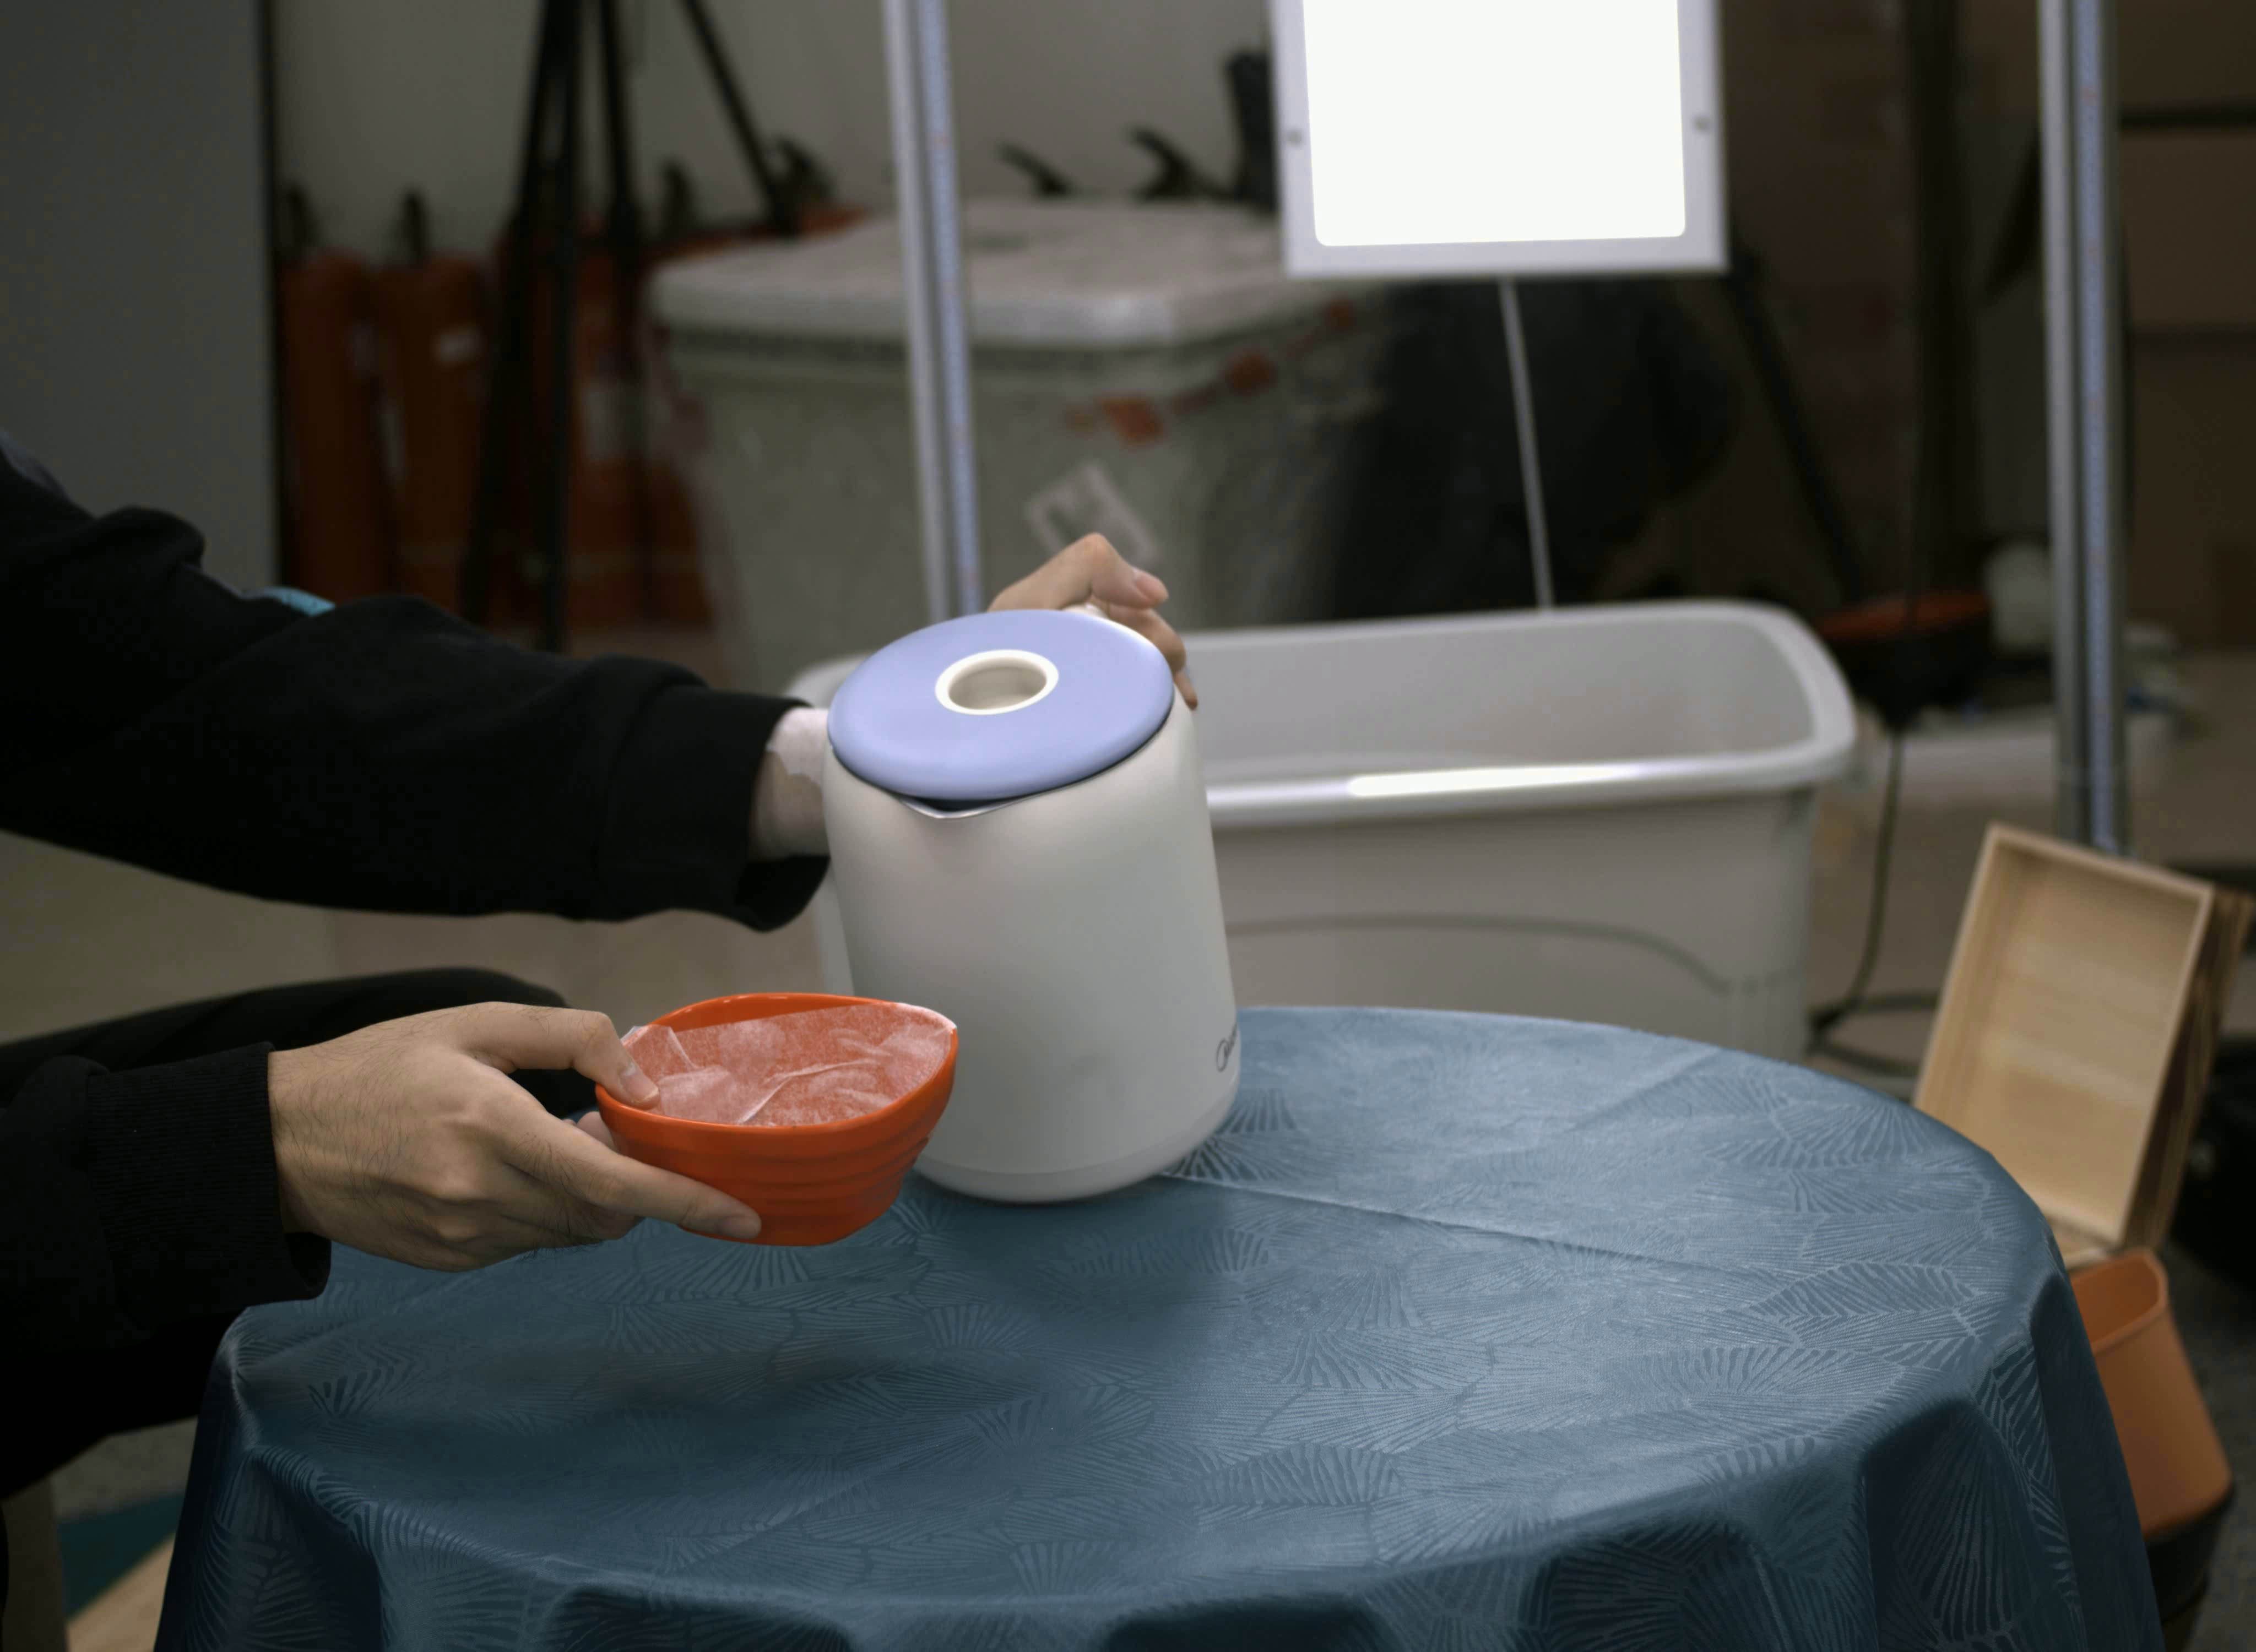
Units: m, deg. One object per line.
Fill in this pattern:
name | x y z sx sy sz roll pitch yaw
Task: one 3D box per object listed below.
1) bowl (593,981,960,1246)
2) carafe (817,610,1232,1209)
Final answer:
bowl | -0.110 0.094 1.738 0.118 0.051 0.118 -2 23 -1
carafe | -0.030 0.016 1.914 0.133 0.183 0.188 2 30 14
